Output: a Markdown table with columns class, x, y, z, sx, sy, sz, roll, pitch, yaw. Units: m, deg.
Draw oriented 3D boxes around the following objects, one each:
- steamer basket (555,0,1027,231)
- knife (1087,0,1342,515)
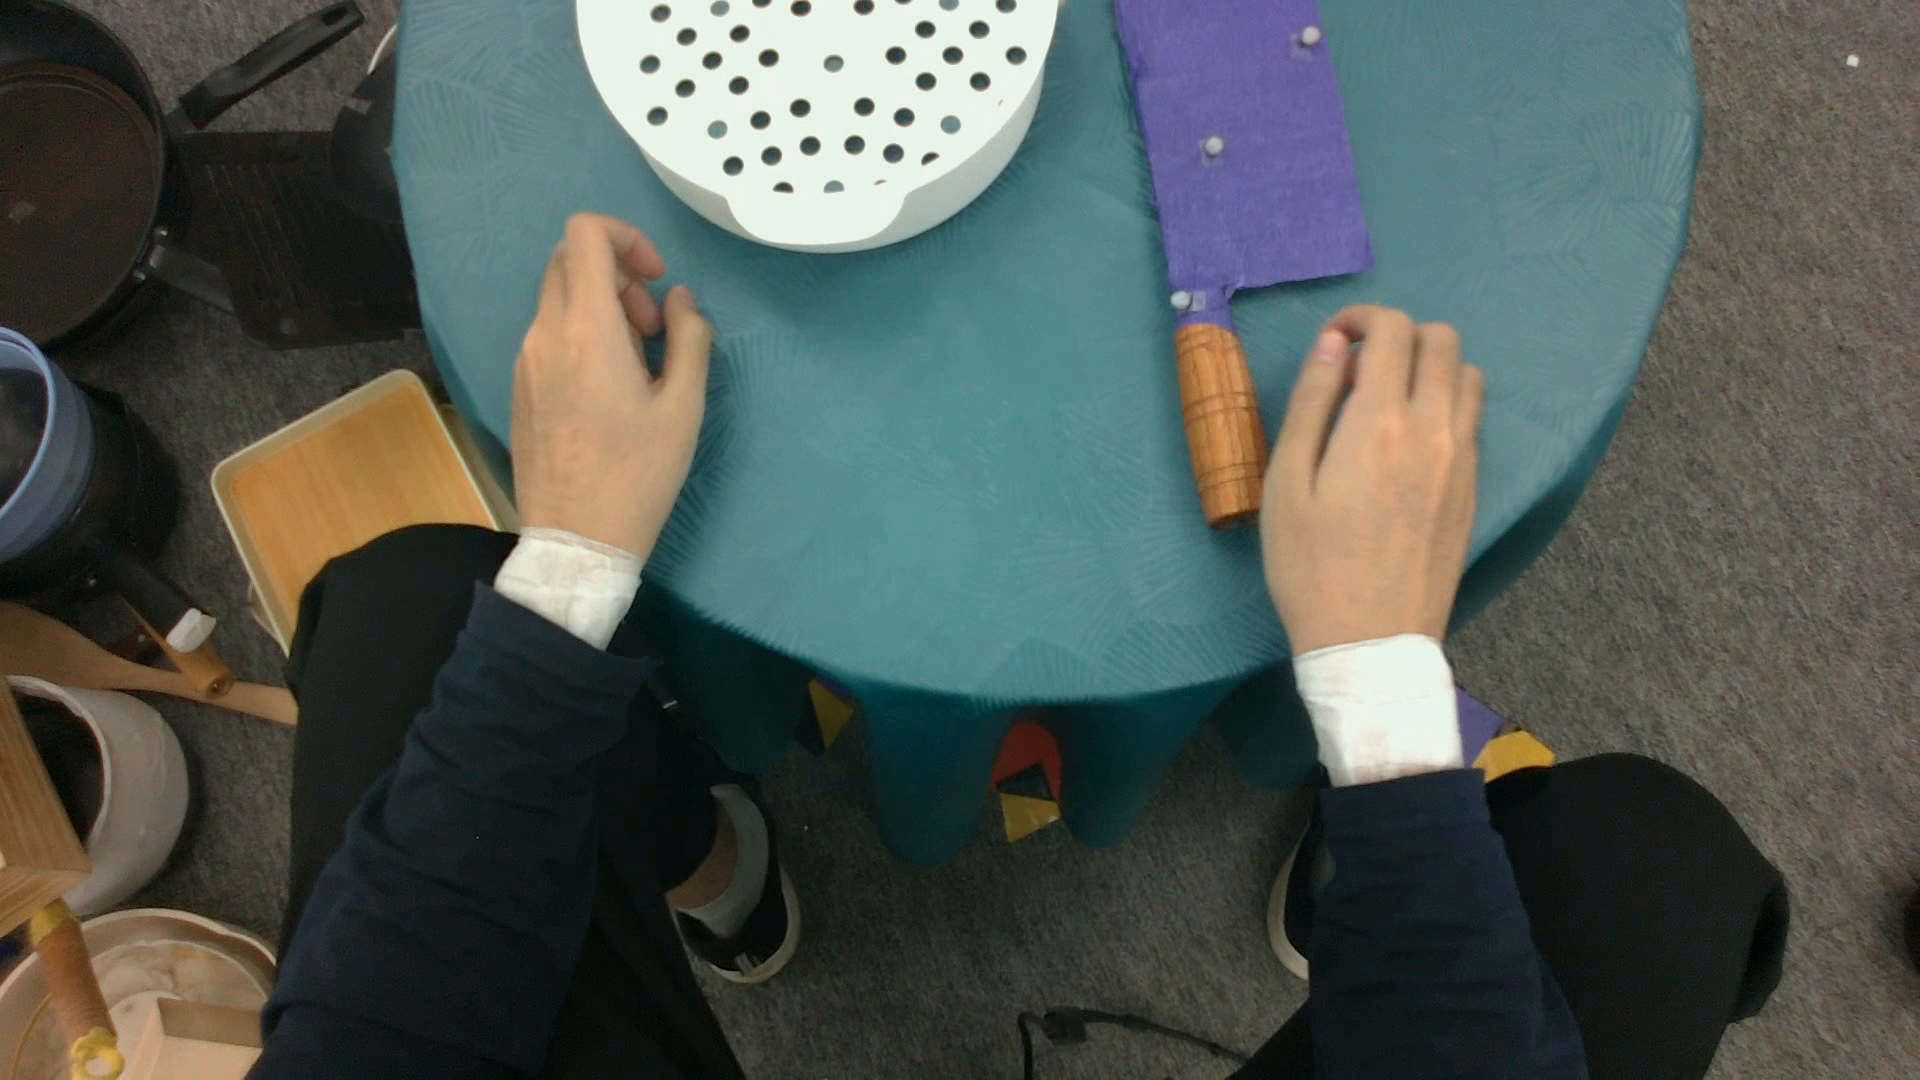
| class | x | y | z | sx | sy | sz | roll | pitch | yaw |
| --- | --- | --- | --- | --- | --- | --- | --- | --- | --- |
| steamer basket | -0.071 | -0.237 | 0.608 | 0.202 | 0.069 | 0.231 | -1 | 81 | 1 |
| knife | 0.117 | -0.170 | 0.613 | 0.104 | 0.032 | 0.316 | -9 | 78 | -2 |
